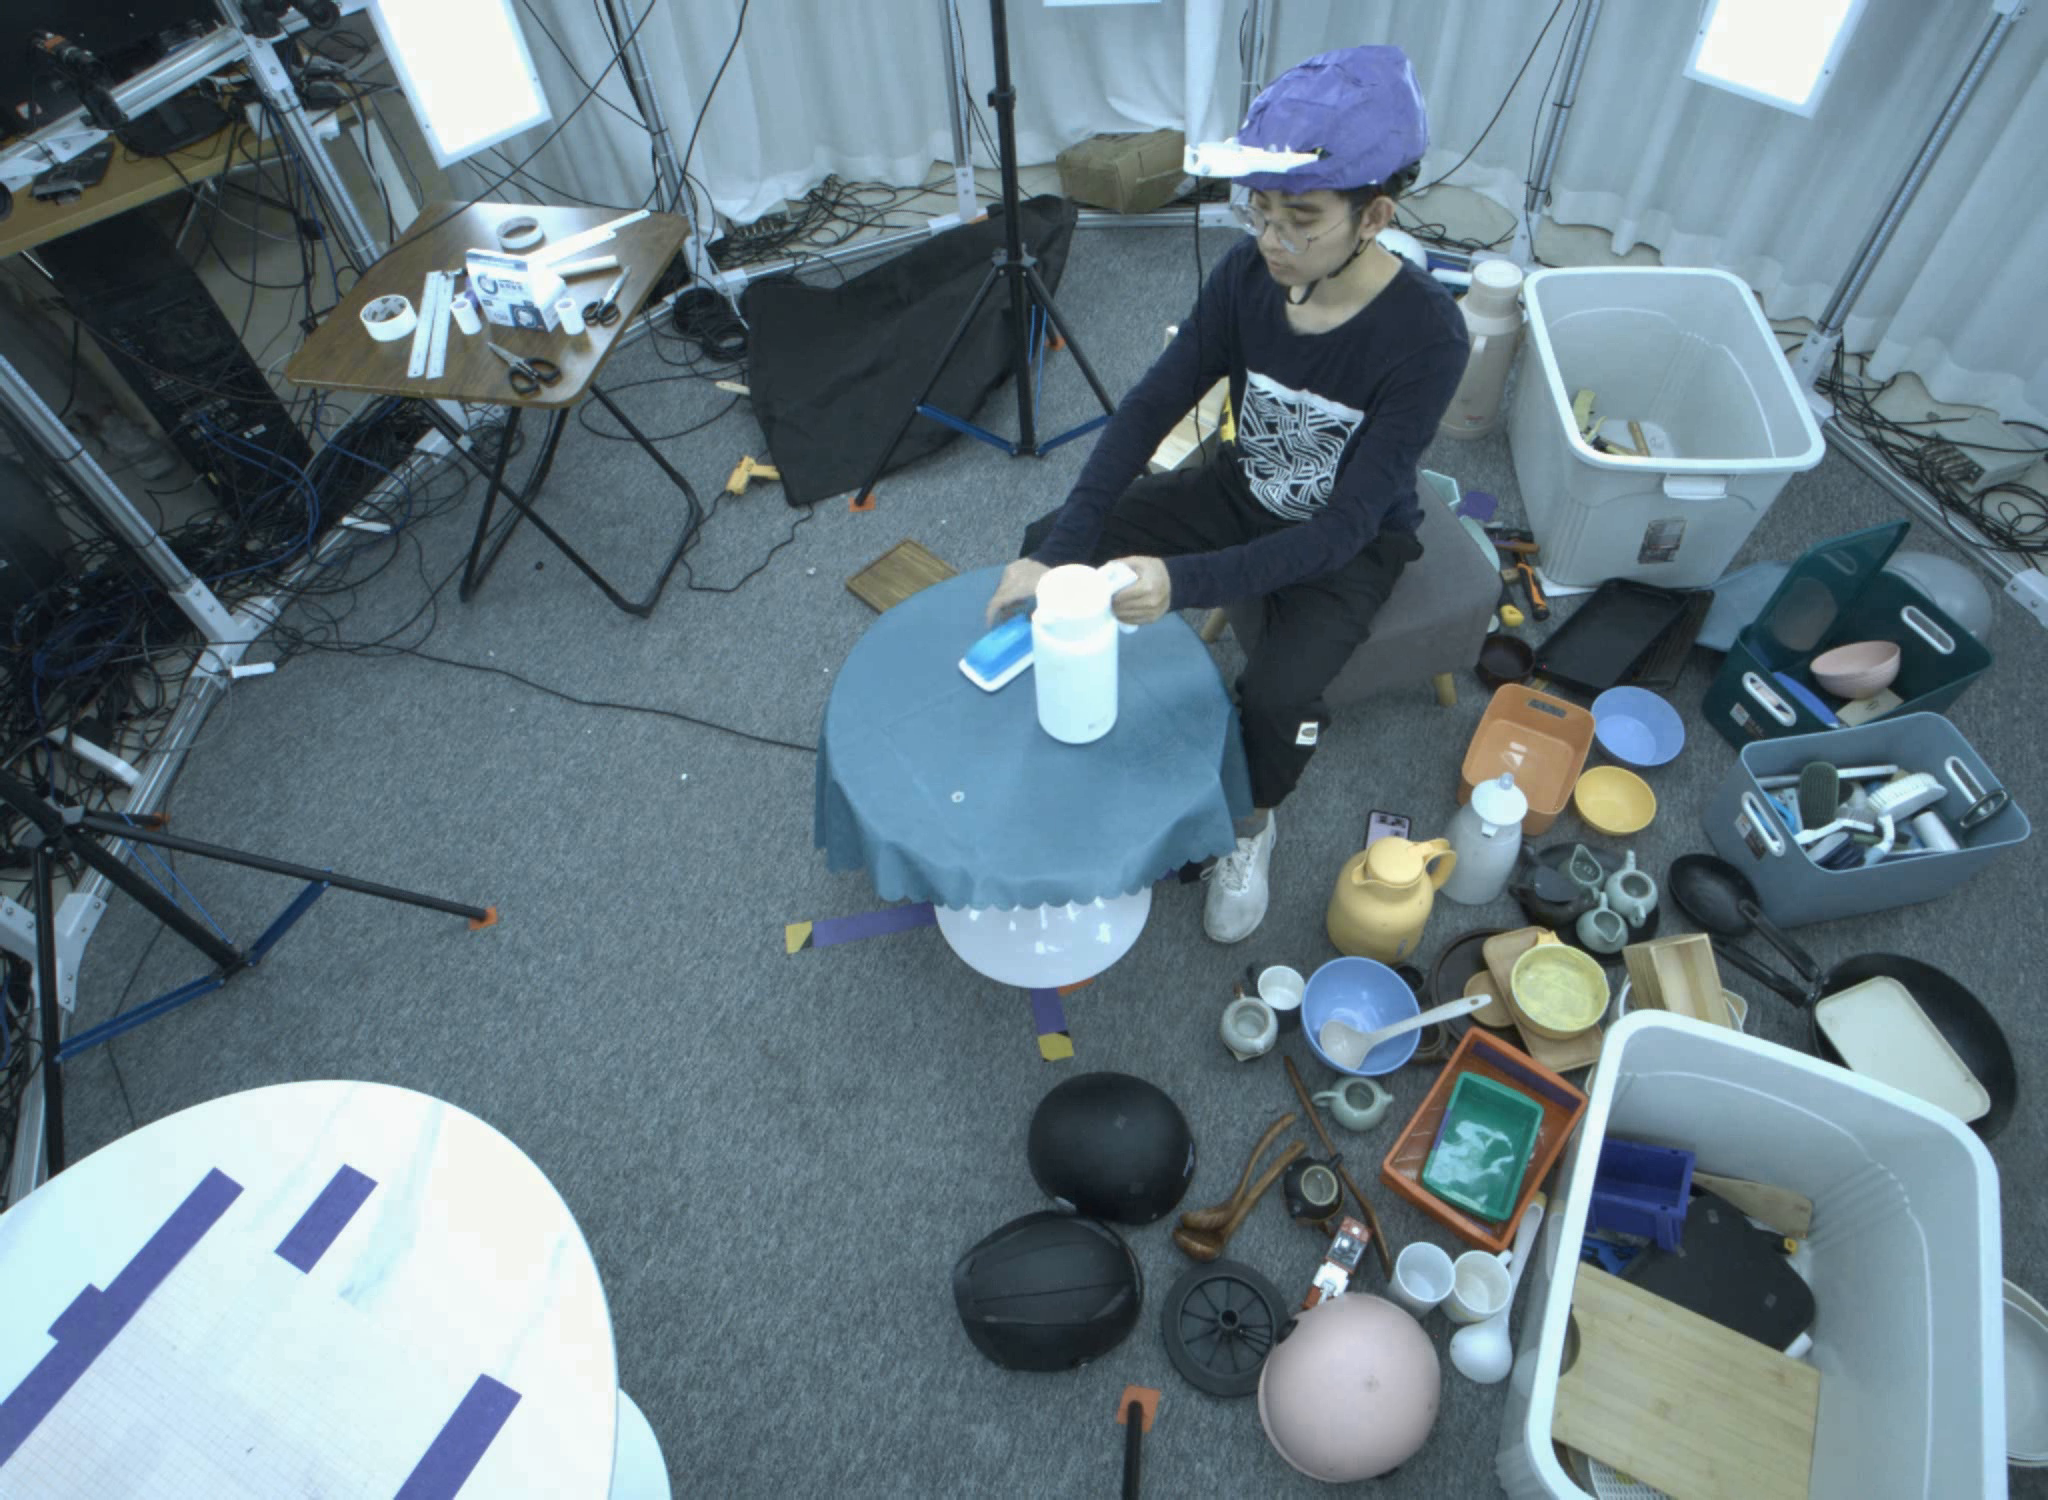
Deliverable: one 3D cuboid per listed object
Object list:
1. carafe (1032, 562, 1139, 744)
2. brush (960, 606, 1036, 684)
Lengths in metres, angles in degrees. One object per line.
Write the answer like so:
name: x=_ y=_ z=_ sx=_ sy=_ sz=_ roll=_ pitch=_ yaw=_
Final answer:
carafe: x=0.085 y=-0.140 z=1.712 sx=0.174 sy=0.272 sz=0.121 roll=-36 pitch=58 yaw=-21
brush: x=-0.026 y=-0.167 z=1.860 sx=0.145 sy=0.056 sz=0.082 roll=-39 pitch=65 yaw=-18
